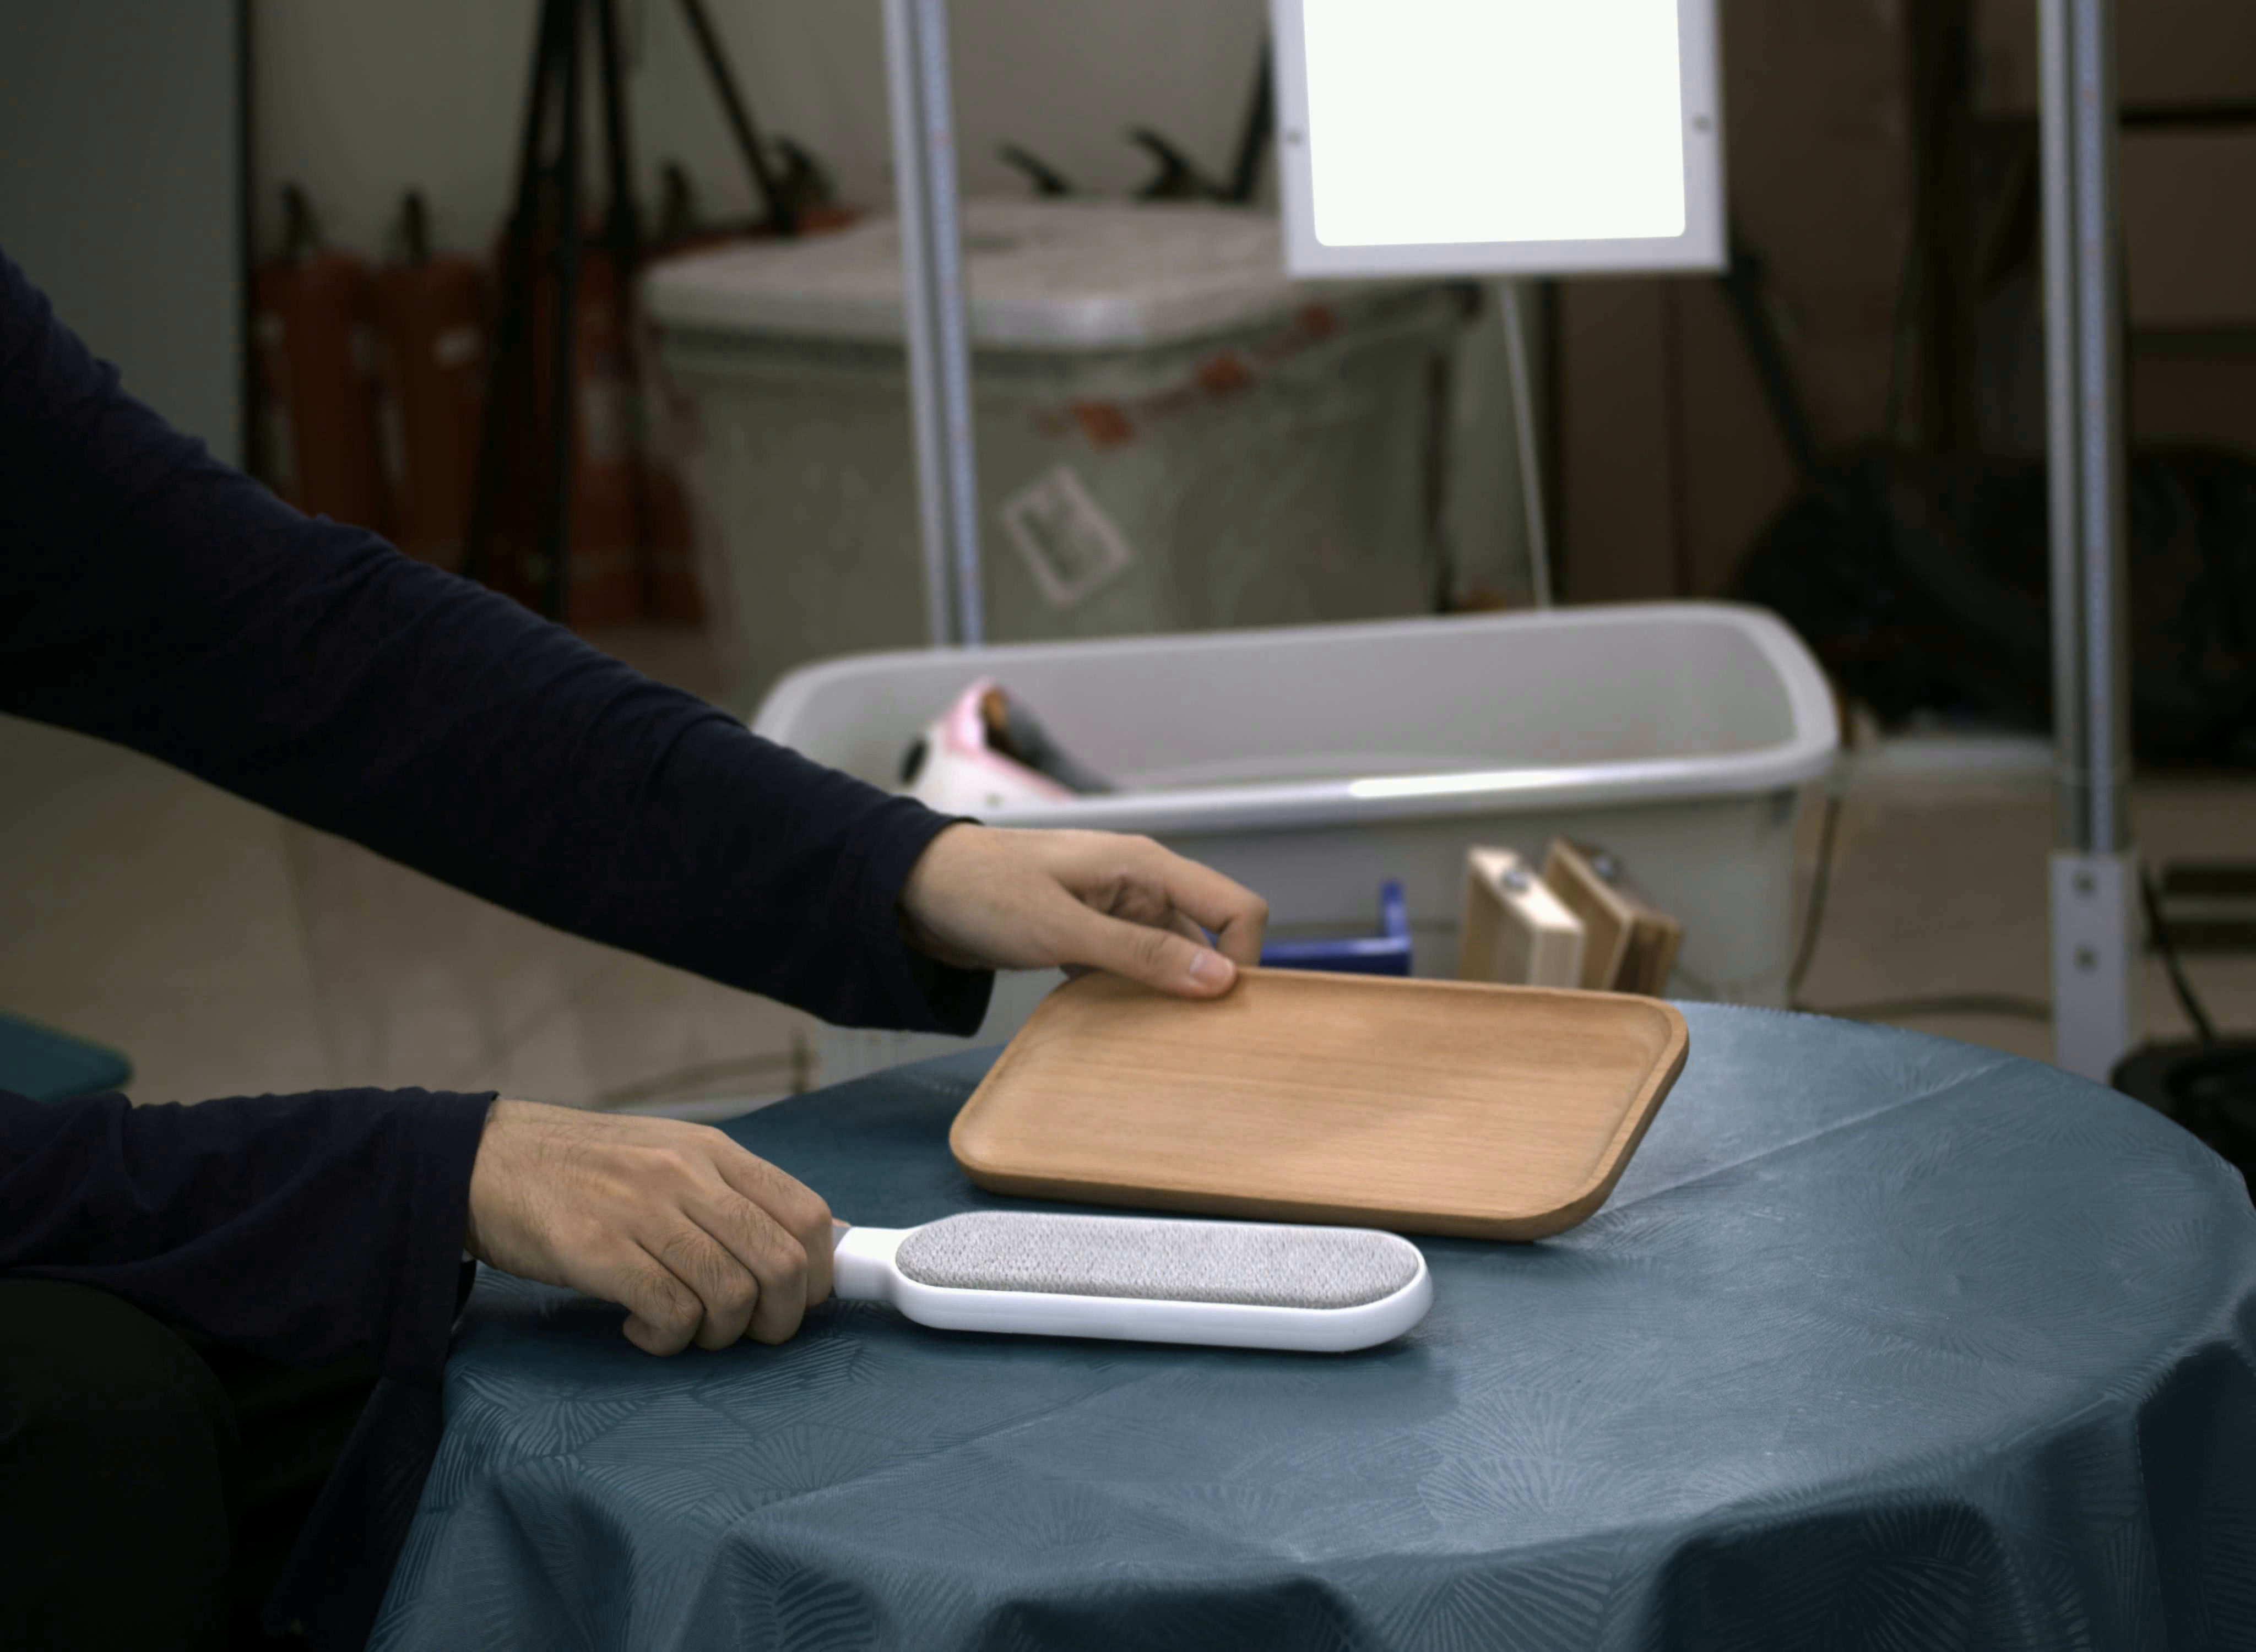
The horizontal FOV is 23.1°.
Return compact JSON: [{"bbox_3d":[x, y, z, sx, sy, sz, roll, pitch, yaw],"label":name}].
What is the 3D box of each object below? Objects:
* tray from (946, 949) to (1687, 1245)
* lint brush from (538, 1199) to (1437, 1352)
[{"bbox_3d":[0.065,0.092,1.899,0.255,0.023,0.128,4,34,32],"label":"tray"},{"bbox_3d":[-0.050,0.141,1.782,0.313,0.021,0.059,2,29,22],"label":"lint brush"}]
